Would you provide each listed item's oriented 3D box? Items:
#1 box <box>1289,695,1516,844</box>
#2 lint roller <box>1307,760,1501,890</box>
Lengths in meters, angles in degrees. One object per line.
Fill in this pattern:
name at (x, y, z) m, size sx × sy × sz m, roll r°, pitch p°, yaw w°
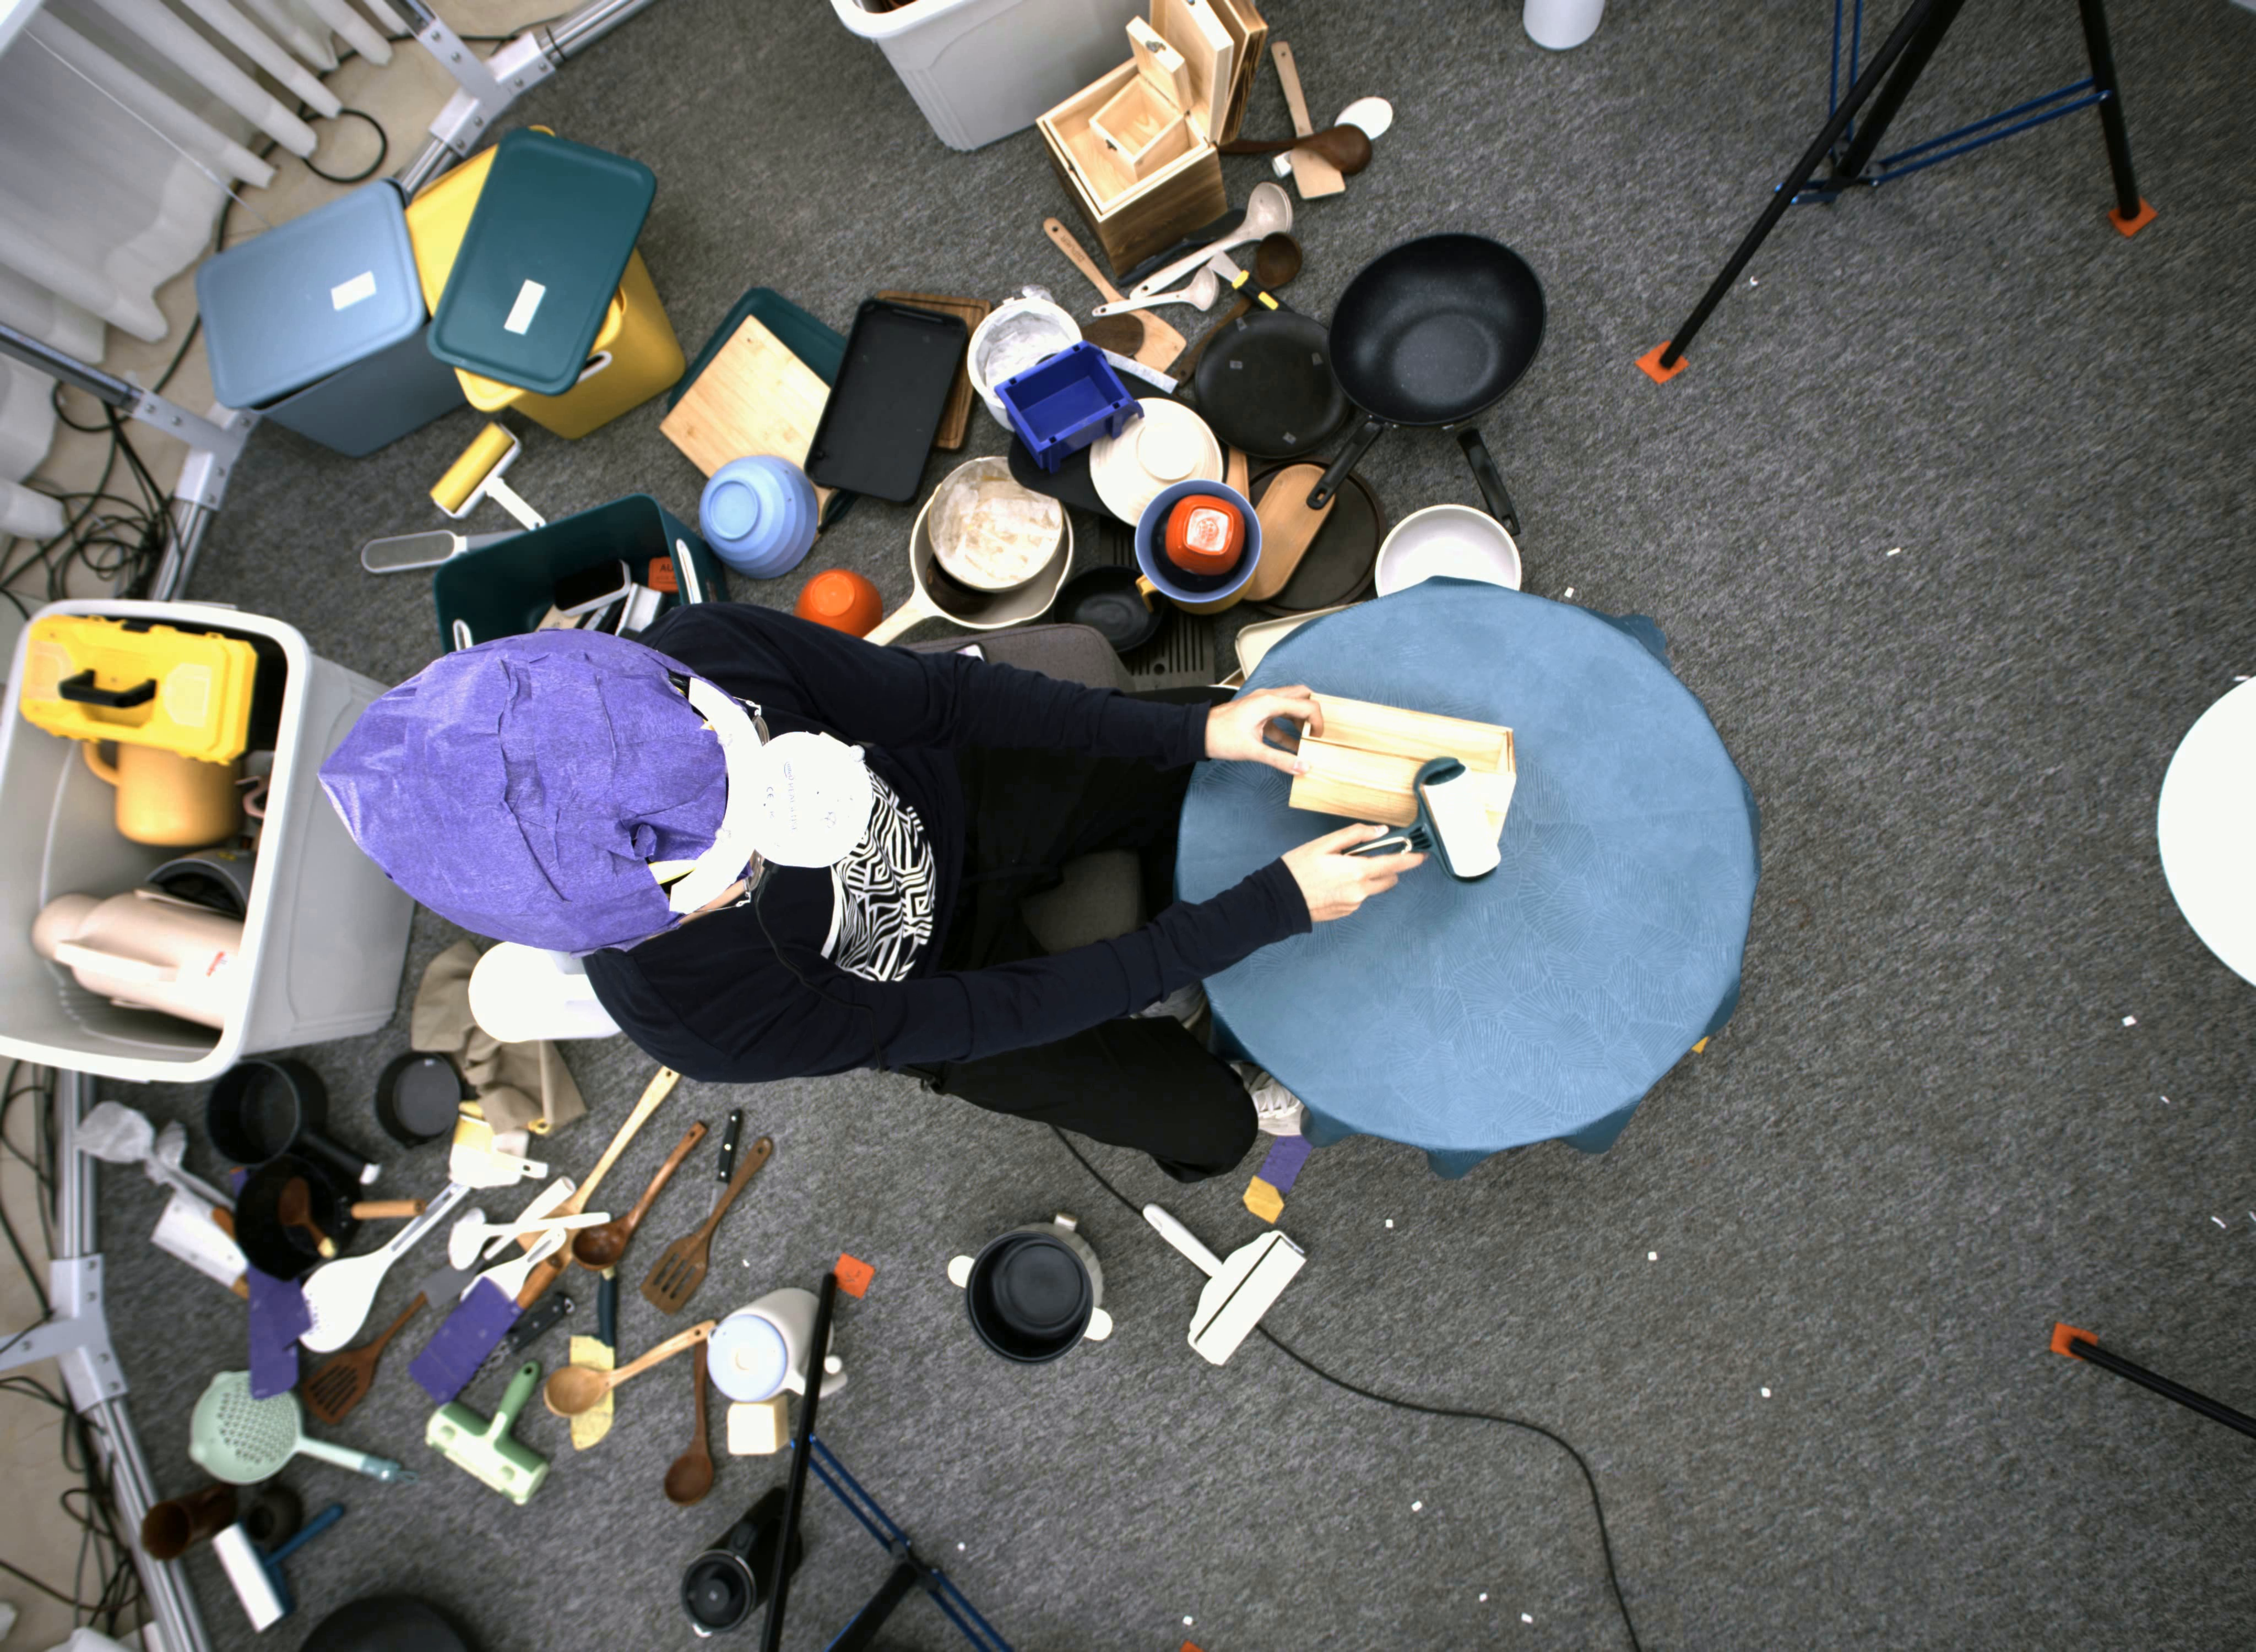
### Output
box at (0.277, -0.060, 1.393) m, size 0.212 × 0.105 × 0.082 m, roll 10°, pitch 124°, yaw 7°
lint roller at (0.260, 0.023, 1.325) m, size 0.181 × 0.047 × 0.136 m, roll -24°, pitch 112°, yaw 5°
